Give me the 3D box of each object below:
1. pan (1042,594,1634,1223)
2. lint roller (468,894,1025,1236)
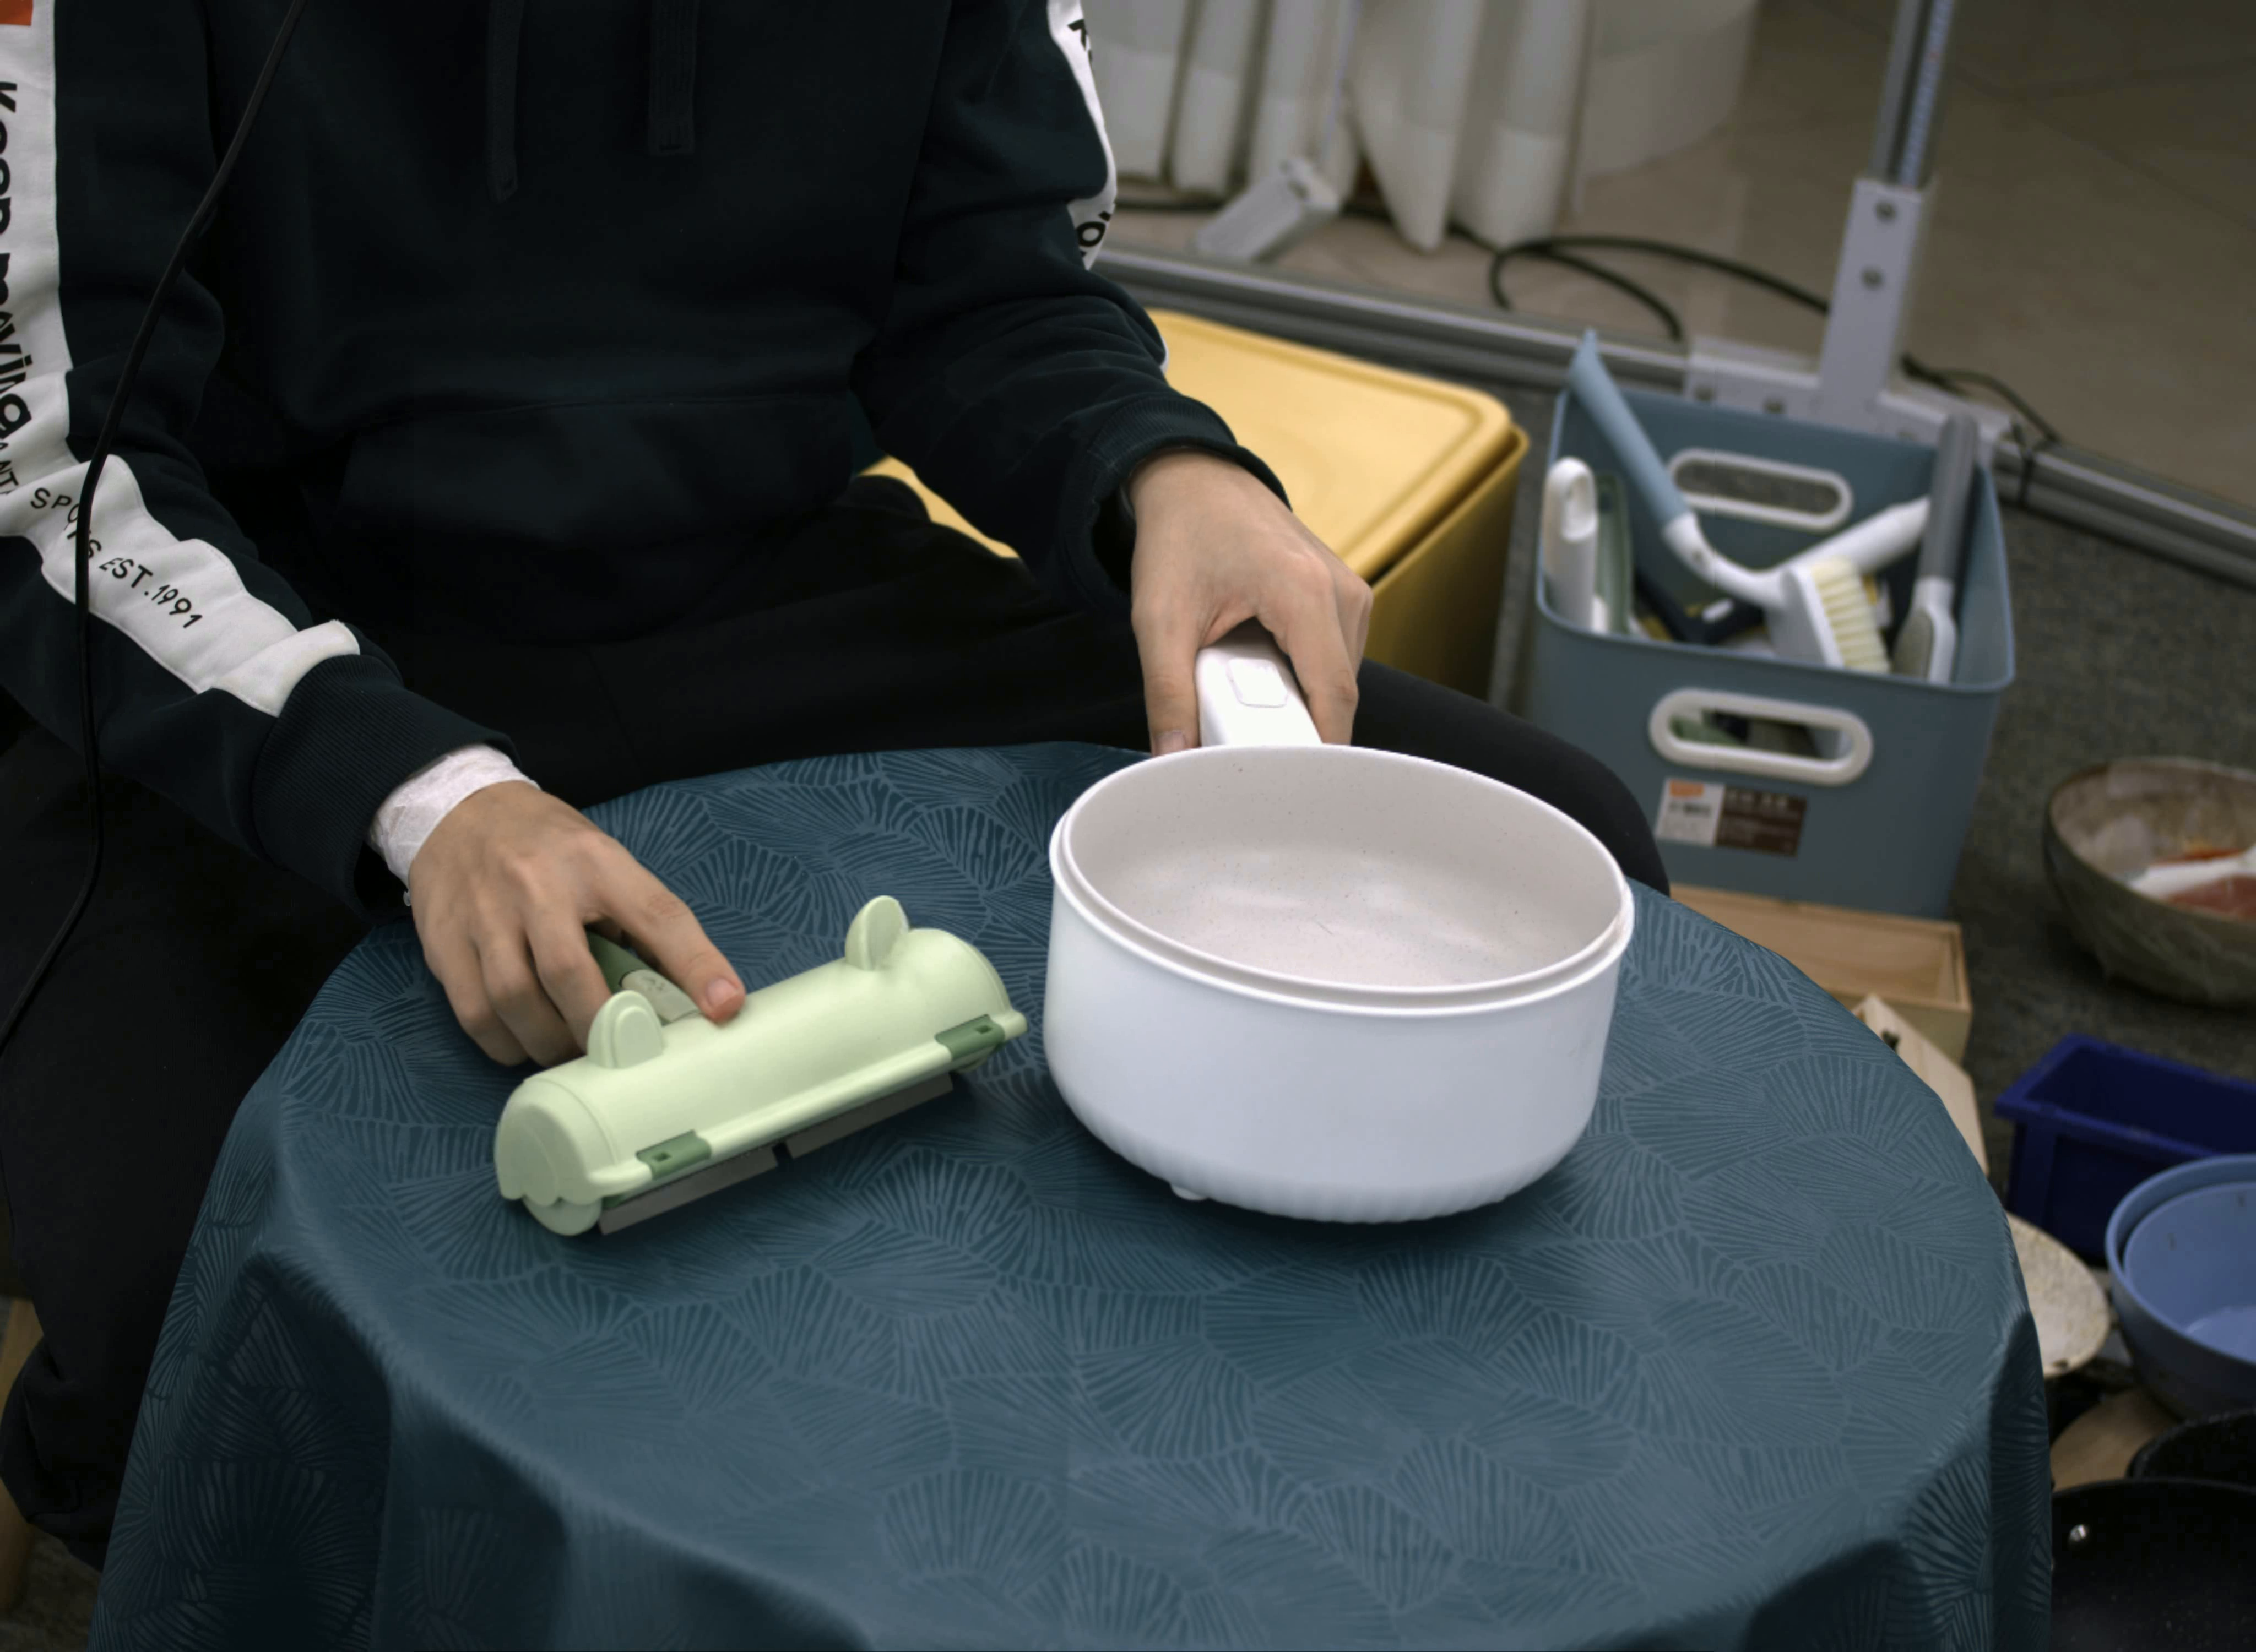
[{"bbox_3d":[0.057,0.026,1.899,0.200,0.102,0.357,1,24,-10],"label":"pan"},{"bbox_3d":[-0.162,0.053,1.818,0.197,0.082,0.185,-20,42,-41],"label":"lint roller"}]
